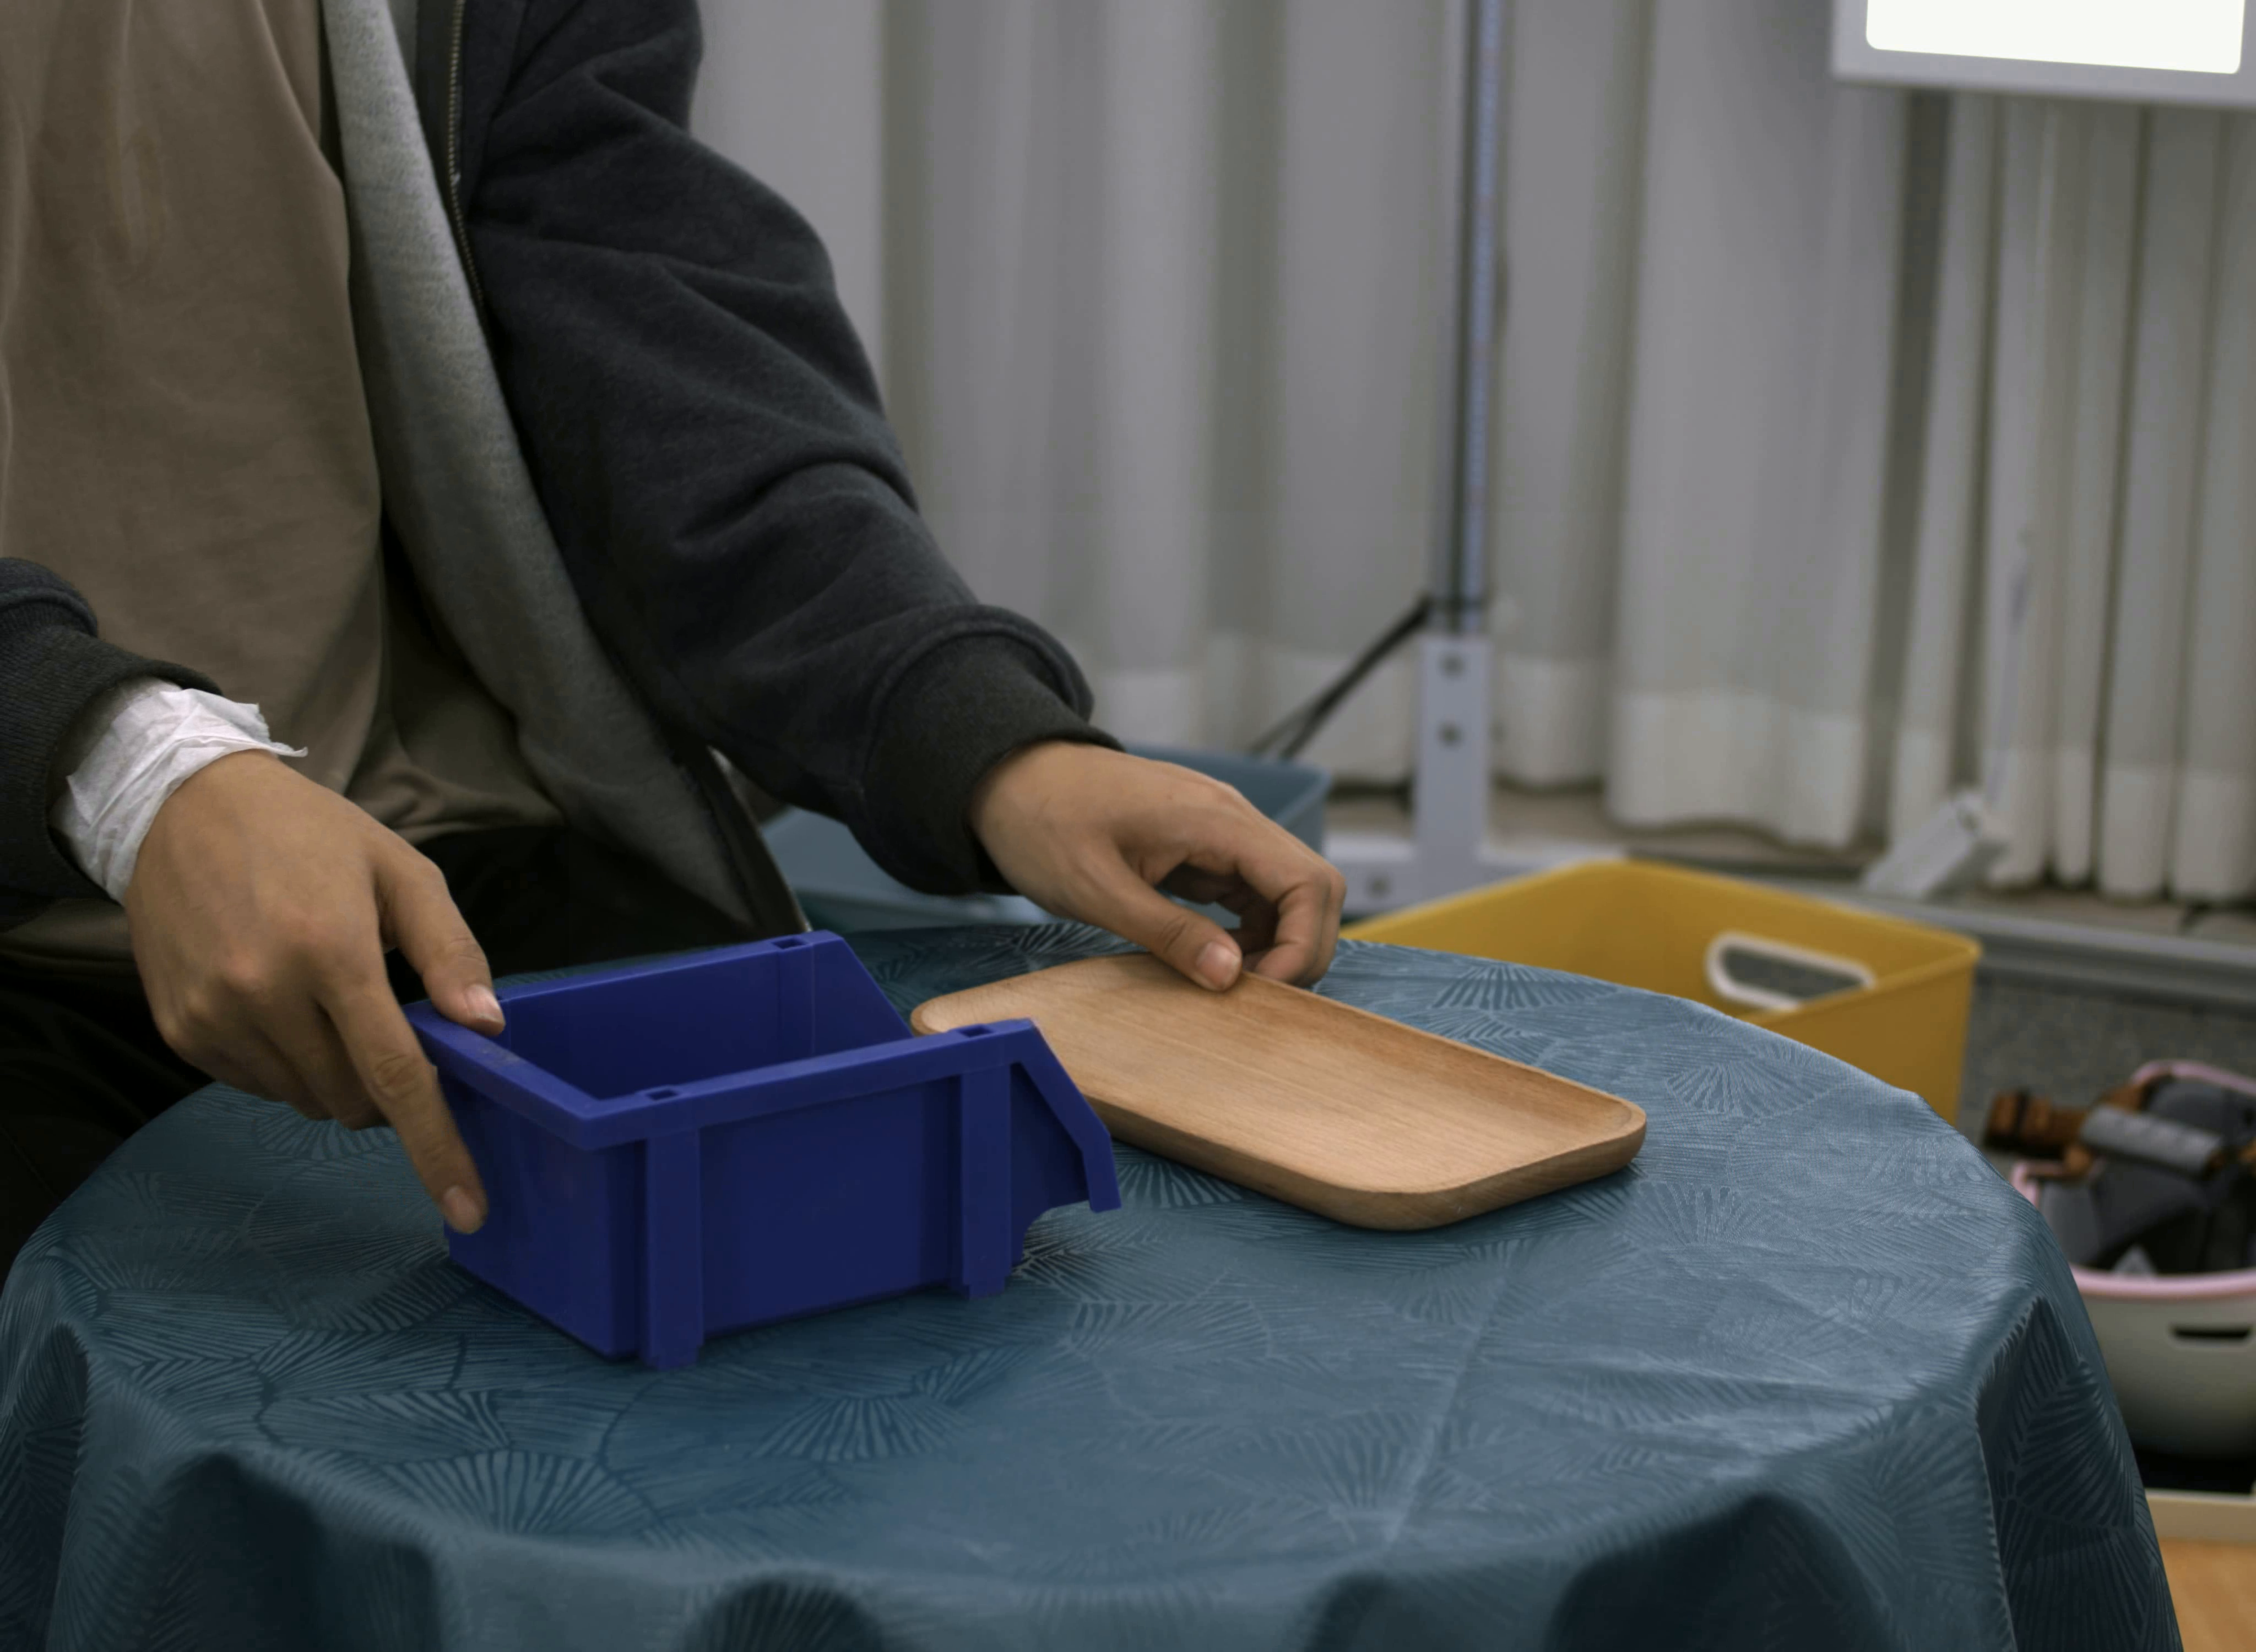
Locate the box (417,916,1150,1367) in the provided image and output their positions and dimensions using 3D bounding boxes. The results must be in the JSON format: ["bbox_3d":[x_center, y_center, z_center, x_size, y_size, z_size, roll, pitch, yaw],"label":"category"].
[{"bbox_3d":[-0.101,0.088,1.552,0.180,0.082,0.123,-13,20,-30],"label":"box"}]

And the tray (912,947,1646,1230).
[{"bbox_3d":[0.044,0.082,1.698,0.131,0.023,0.247,-10,18,-40],"label":"tray"}]
